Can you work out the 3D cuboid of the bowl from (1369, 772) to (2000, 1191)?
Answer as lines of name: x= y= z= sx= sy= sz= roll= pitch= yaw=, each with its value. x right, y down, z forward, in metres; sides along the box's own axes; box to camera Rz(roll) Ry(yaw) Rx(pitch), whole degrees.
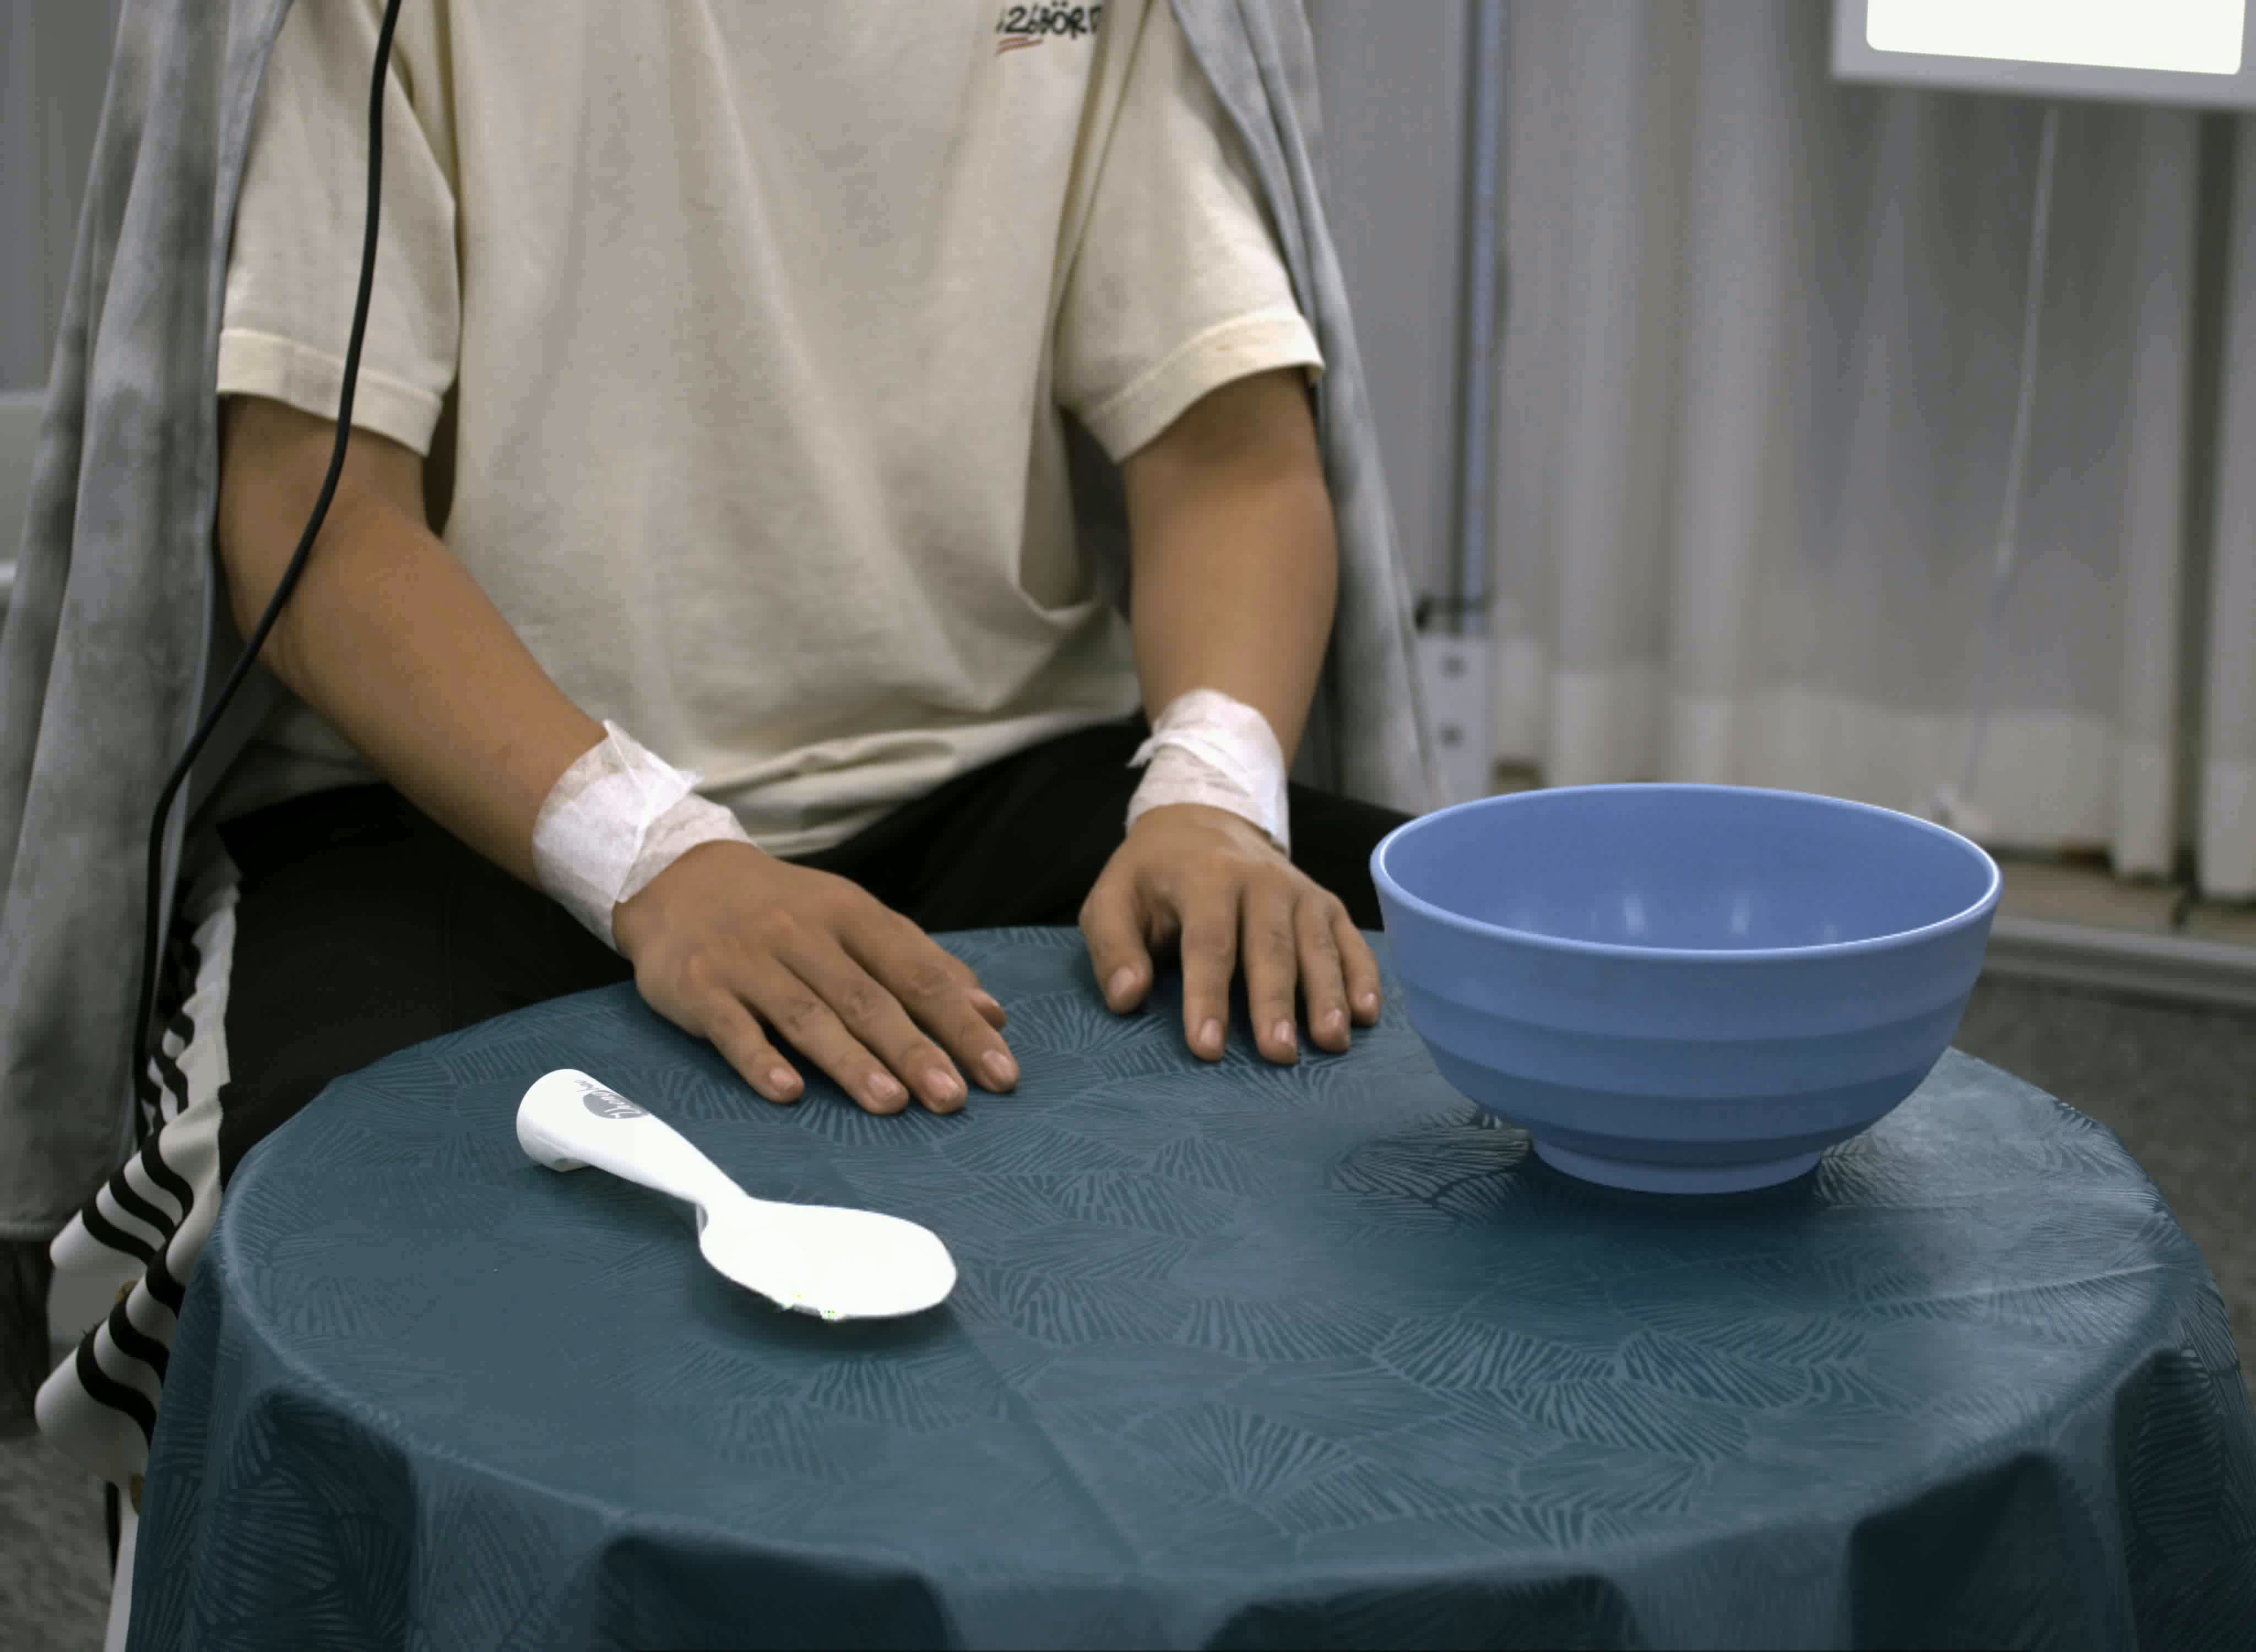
bowl: x=0.173 y=0.054 z=1.657 sx=0.196 sy=0.096 sz=0.195 roll=0 pitch=18 yaw=0

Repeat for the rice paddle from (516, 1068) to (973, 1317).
rice paddle: x=-0.118 y=0.111 z=1.569 sx=0.069 sy=0.029 sz=0.202 roll=-13 pitch=20 yaw=-35
